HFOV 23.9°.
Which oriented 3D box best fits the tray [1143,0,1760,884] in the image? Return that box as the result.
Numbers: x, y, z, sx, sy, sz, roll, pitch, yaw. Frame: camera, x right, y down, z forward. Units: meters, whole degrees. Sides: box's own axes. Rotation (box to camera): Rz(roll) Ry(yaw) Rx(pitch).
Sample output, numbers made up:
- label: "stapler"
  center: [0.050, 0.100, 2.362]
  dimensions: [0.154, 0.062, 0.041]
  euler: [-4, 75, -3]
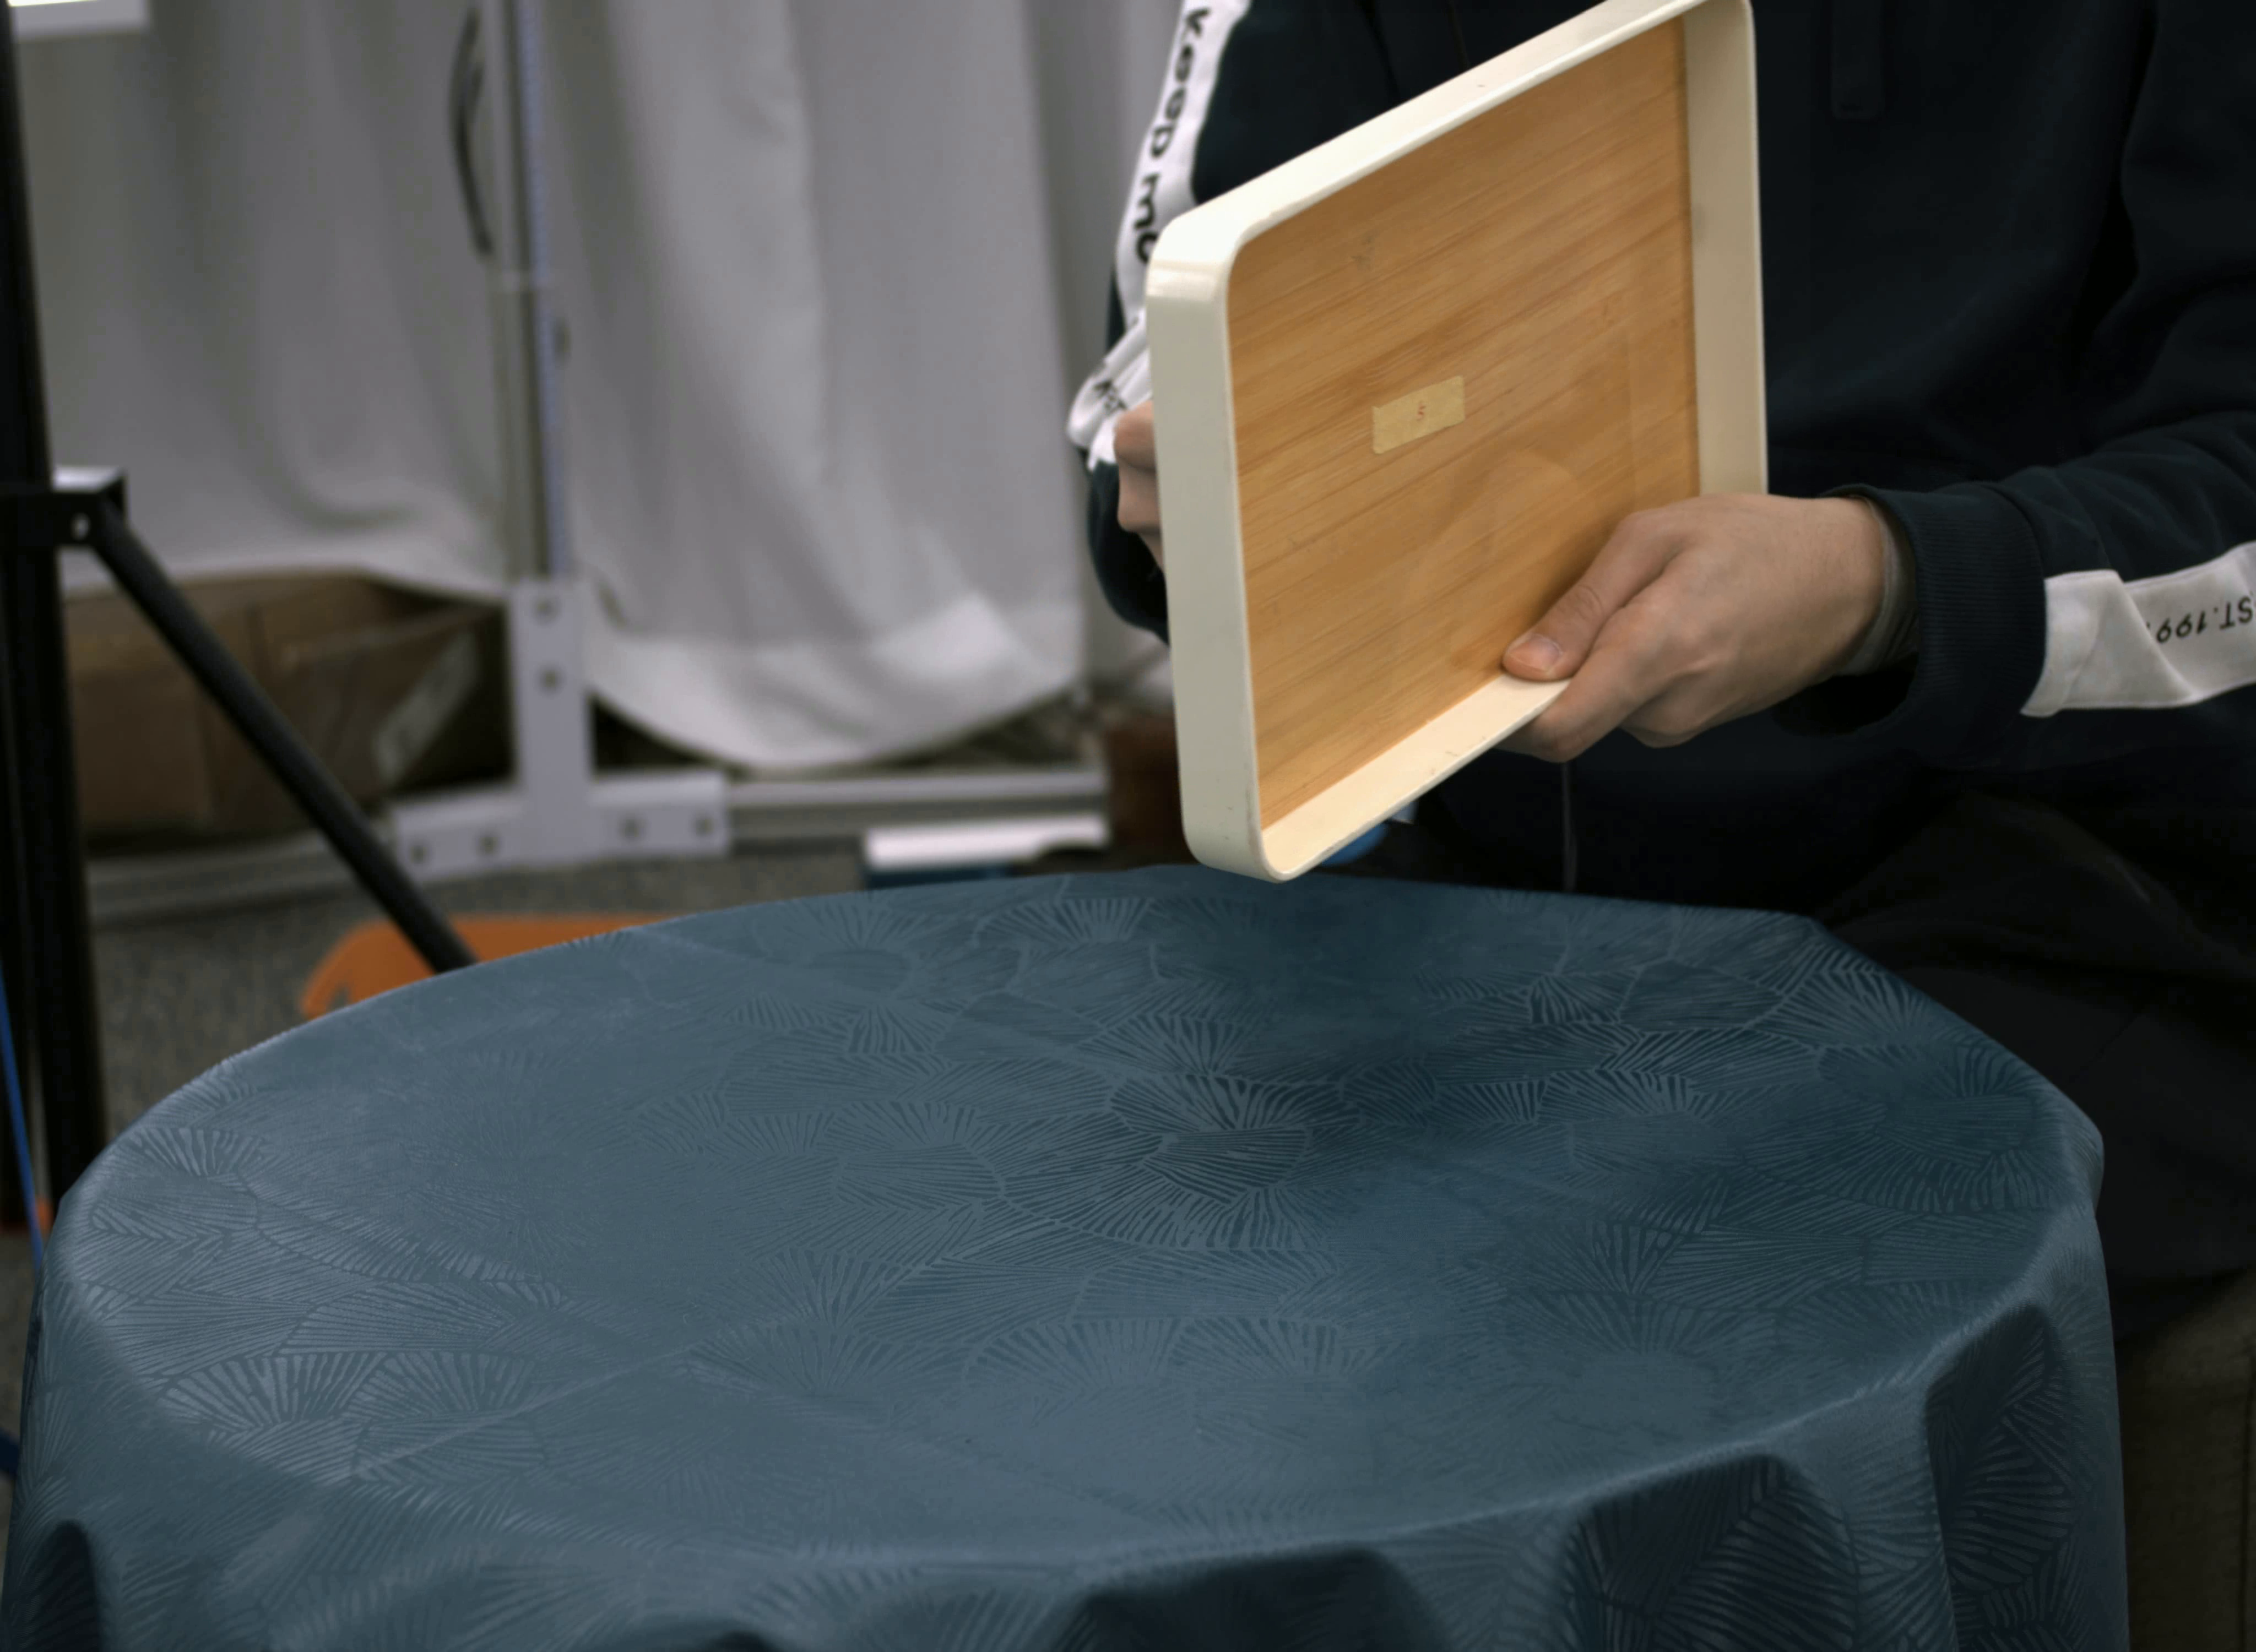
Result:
- label: "tray"
  center: [0.100, -0.120, 1.533]
  dimensions: [0.028, 0.191, 0.295]
  euler: [10, 26, 33]

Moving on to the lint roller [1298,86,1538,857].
- label: "lint roller"
  center: [0.059, -0.102, 1.623]
  dimensions: [0.067, 0.230, 0.182]
  euler: [11, -5, -15]
